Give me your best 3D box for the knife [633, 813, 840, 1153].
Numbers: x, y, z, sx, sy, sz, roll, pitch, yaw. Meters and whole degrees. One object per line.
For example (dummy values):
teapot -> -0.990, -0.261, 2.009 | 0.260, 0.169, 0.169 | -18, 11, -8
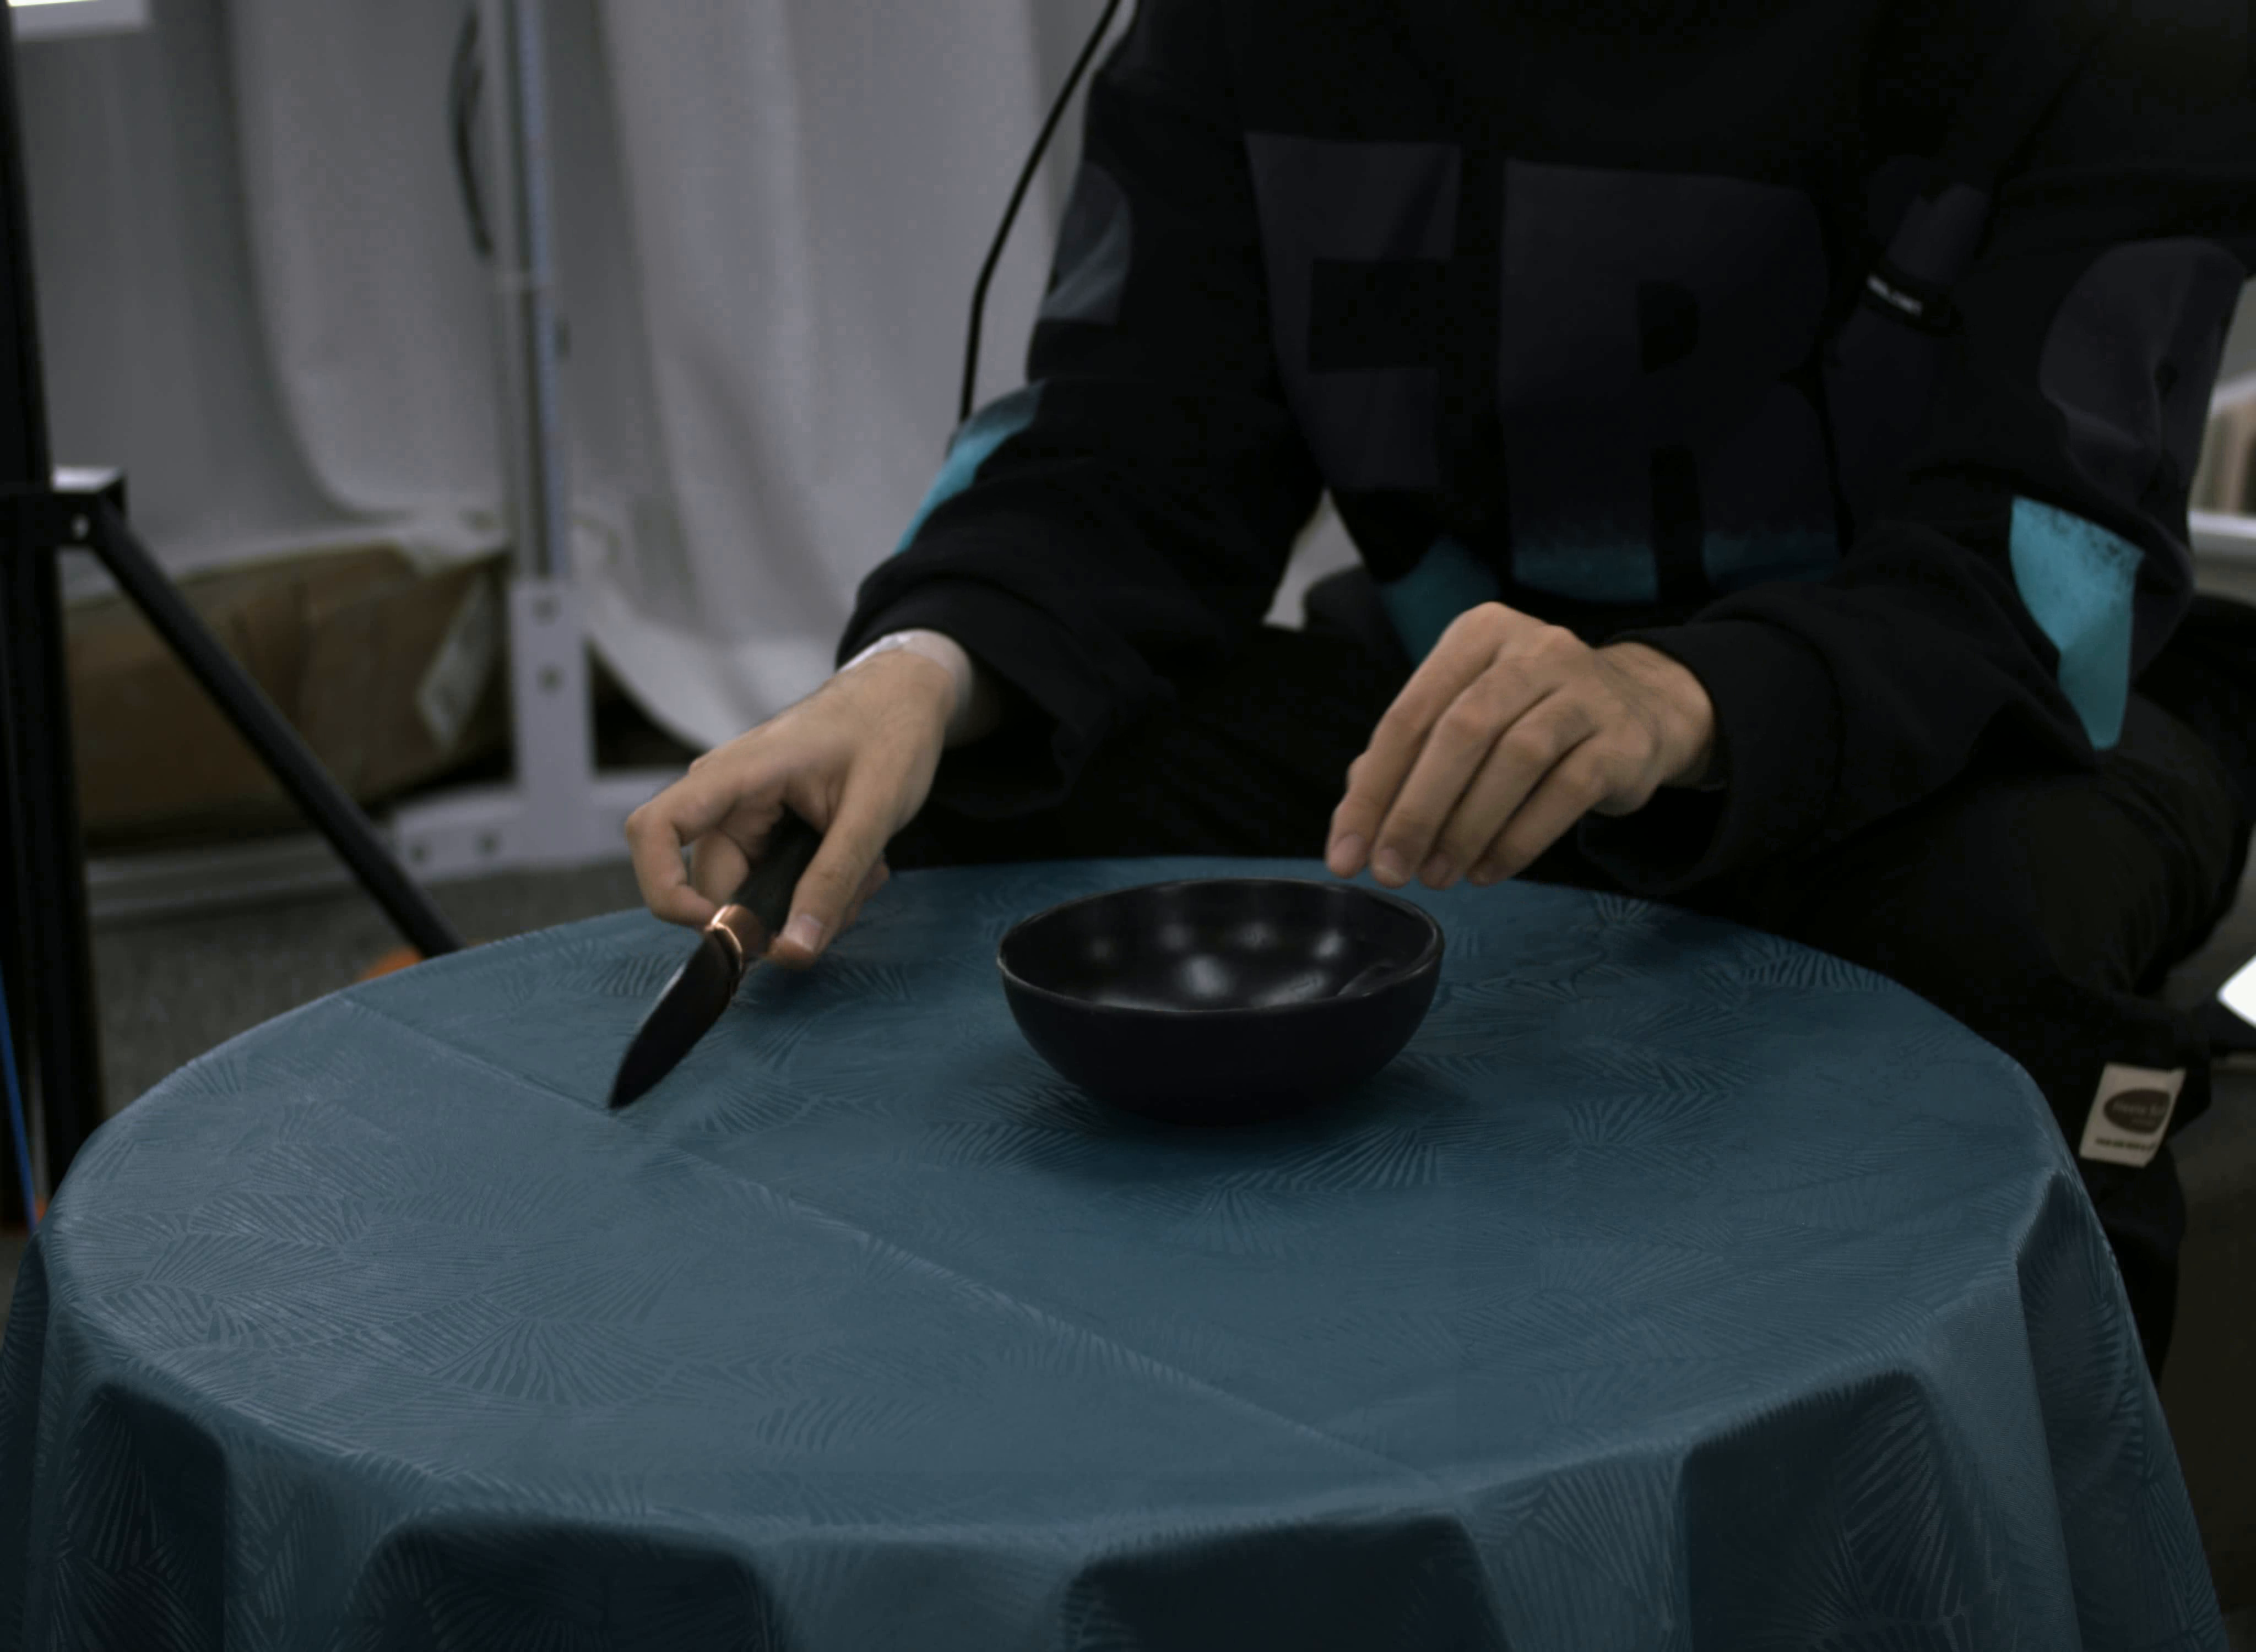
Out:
knife -> -0.127, 0.048, 1.710 | 0.017, 0.026, 0.224 | -24, 17, 22

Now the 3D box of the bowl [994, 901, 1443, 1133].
bowl -> 0.029, 0.062, 1.635 | 0.139, 0.050, 0.140 | -3, 11, -1
